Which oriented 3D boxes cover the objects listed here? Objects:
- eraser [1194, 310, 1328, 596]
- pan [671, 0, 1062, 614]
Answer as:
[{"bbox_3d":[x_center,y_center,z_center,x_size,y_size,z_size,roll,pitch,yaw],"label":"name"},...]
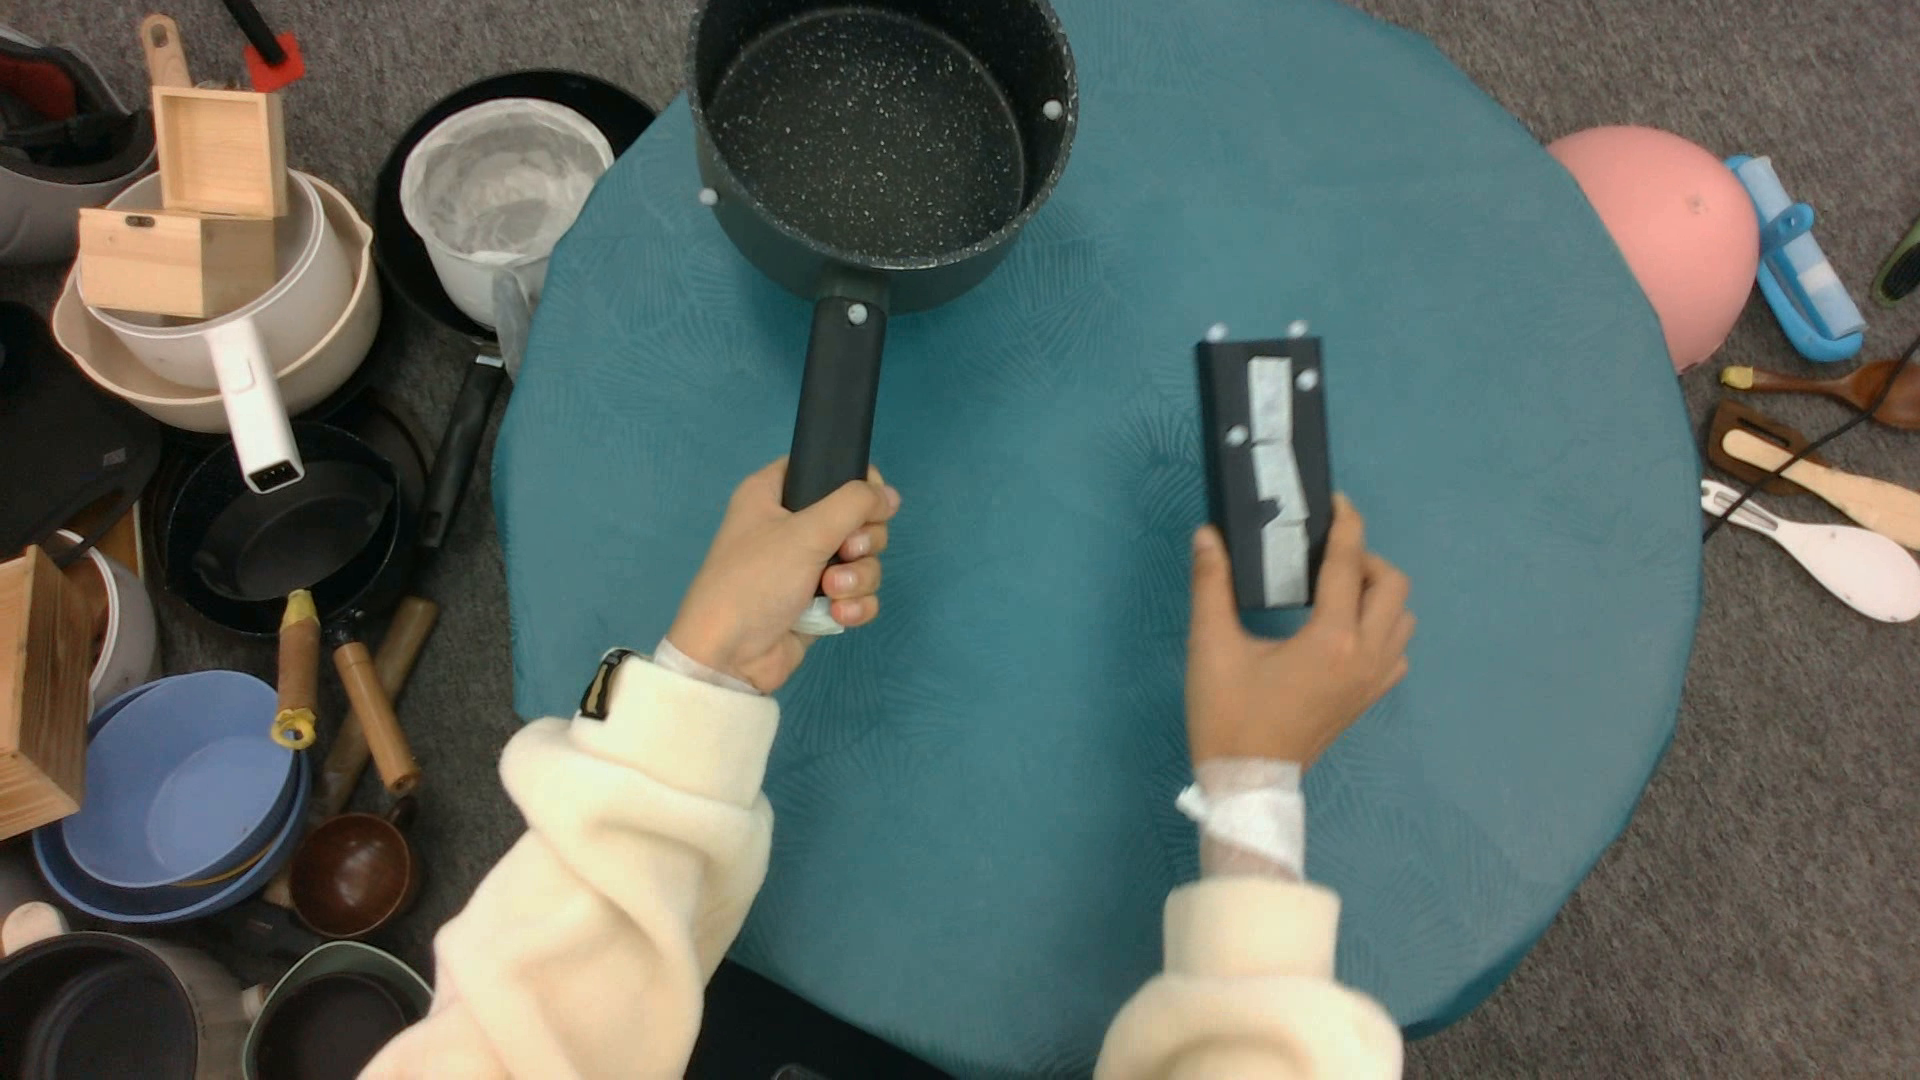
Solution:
[{"bbox_3d":[0.134,-0.039,0.620,0.053,0.030,0.125,-2,90,-3],"label":"eraser"},{"bbox_3d":[-0.056,-0.122,0.613,0.172,0.086,0.329,12,74,-8],"label":"pan"}]
